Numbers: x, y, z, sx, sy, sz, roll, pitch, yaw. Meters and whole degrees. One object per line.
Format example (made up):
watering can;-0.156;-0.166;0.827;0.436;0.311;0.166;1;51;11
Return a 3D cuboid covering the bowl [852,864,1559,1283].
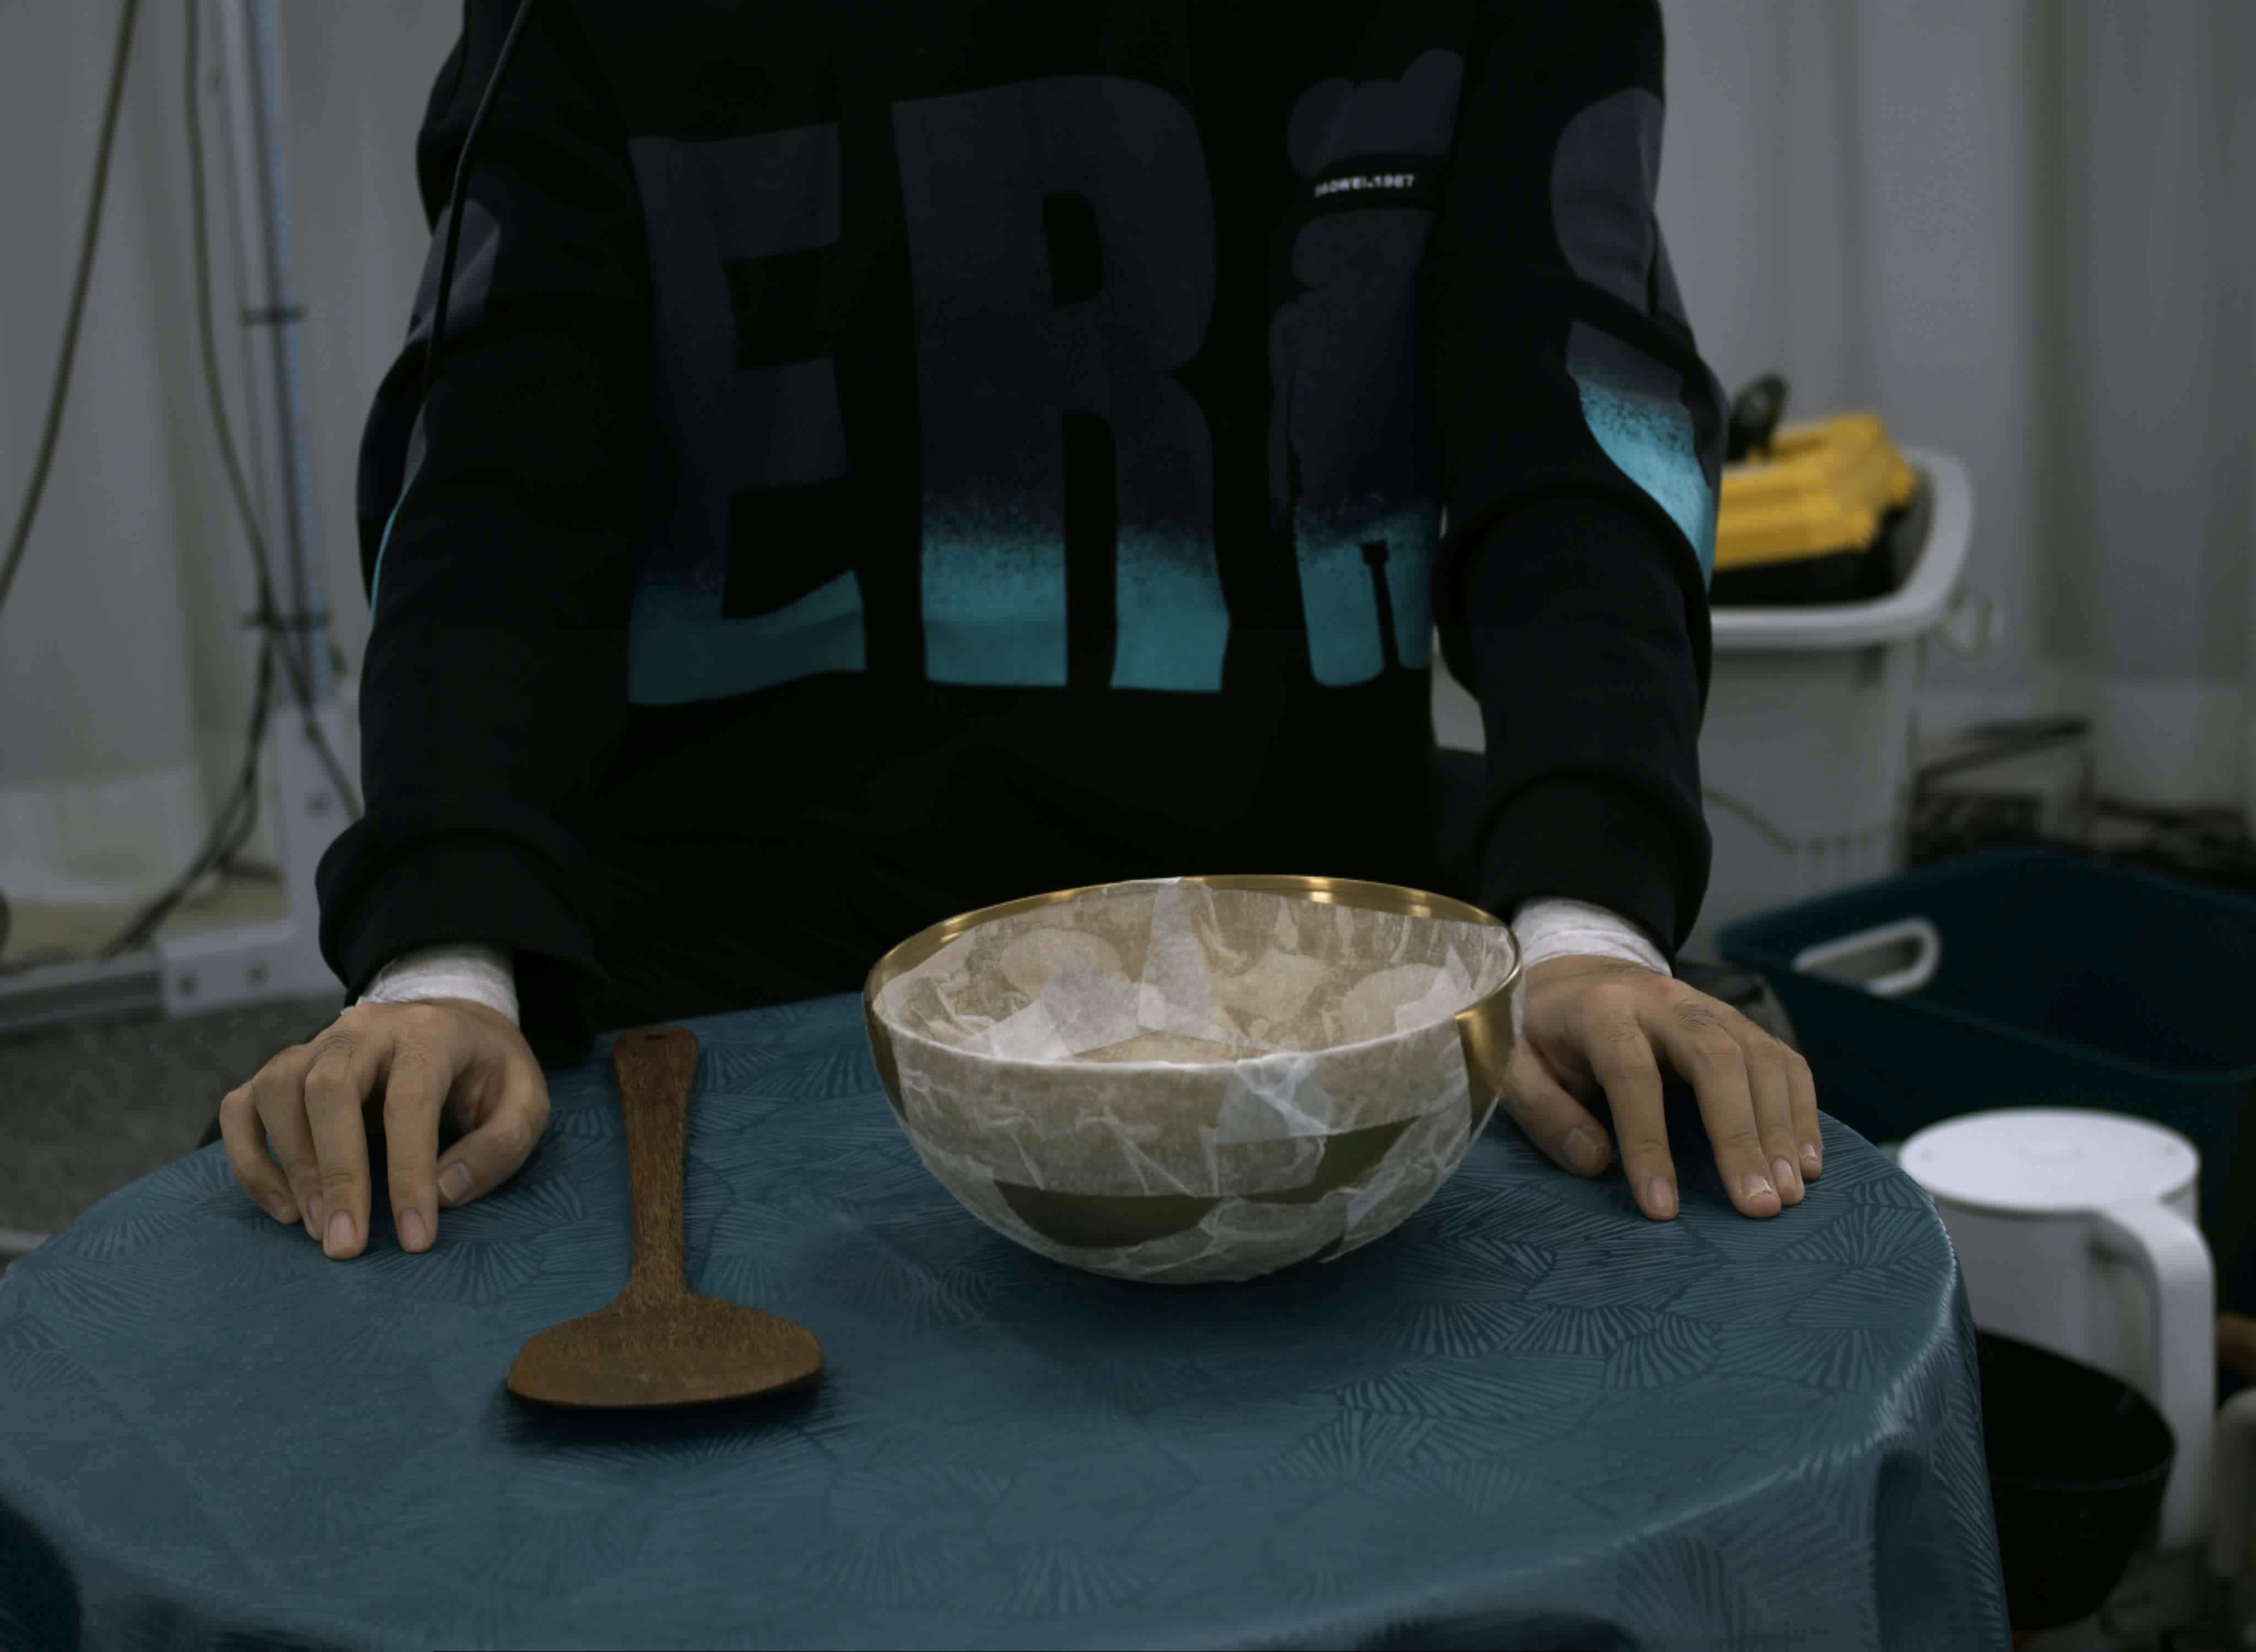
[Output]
bowl;0.025;0.083;1.649;0.214;0.094;0.216;-4;14;1

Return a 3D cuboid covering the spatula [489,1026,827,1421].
spatula;-0.148;0.118;1.706;0.096;0.016;0.389;-4;15;-4
